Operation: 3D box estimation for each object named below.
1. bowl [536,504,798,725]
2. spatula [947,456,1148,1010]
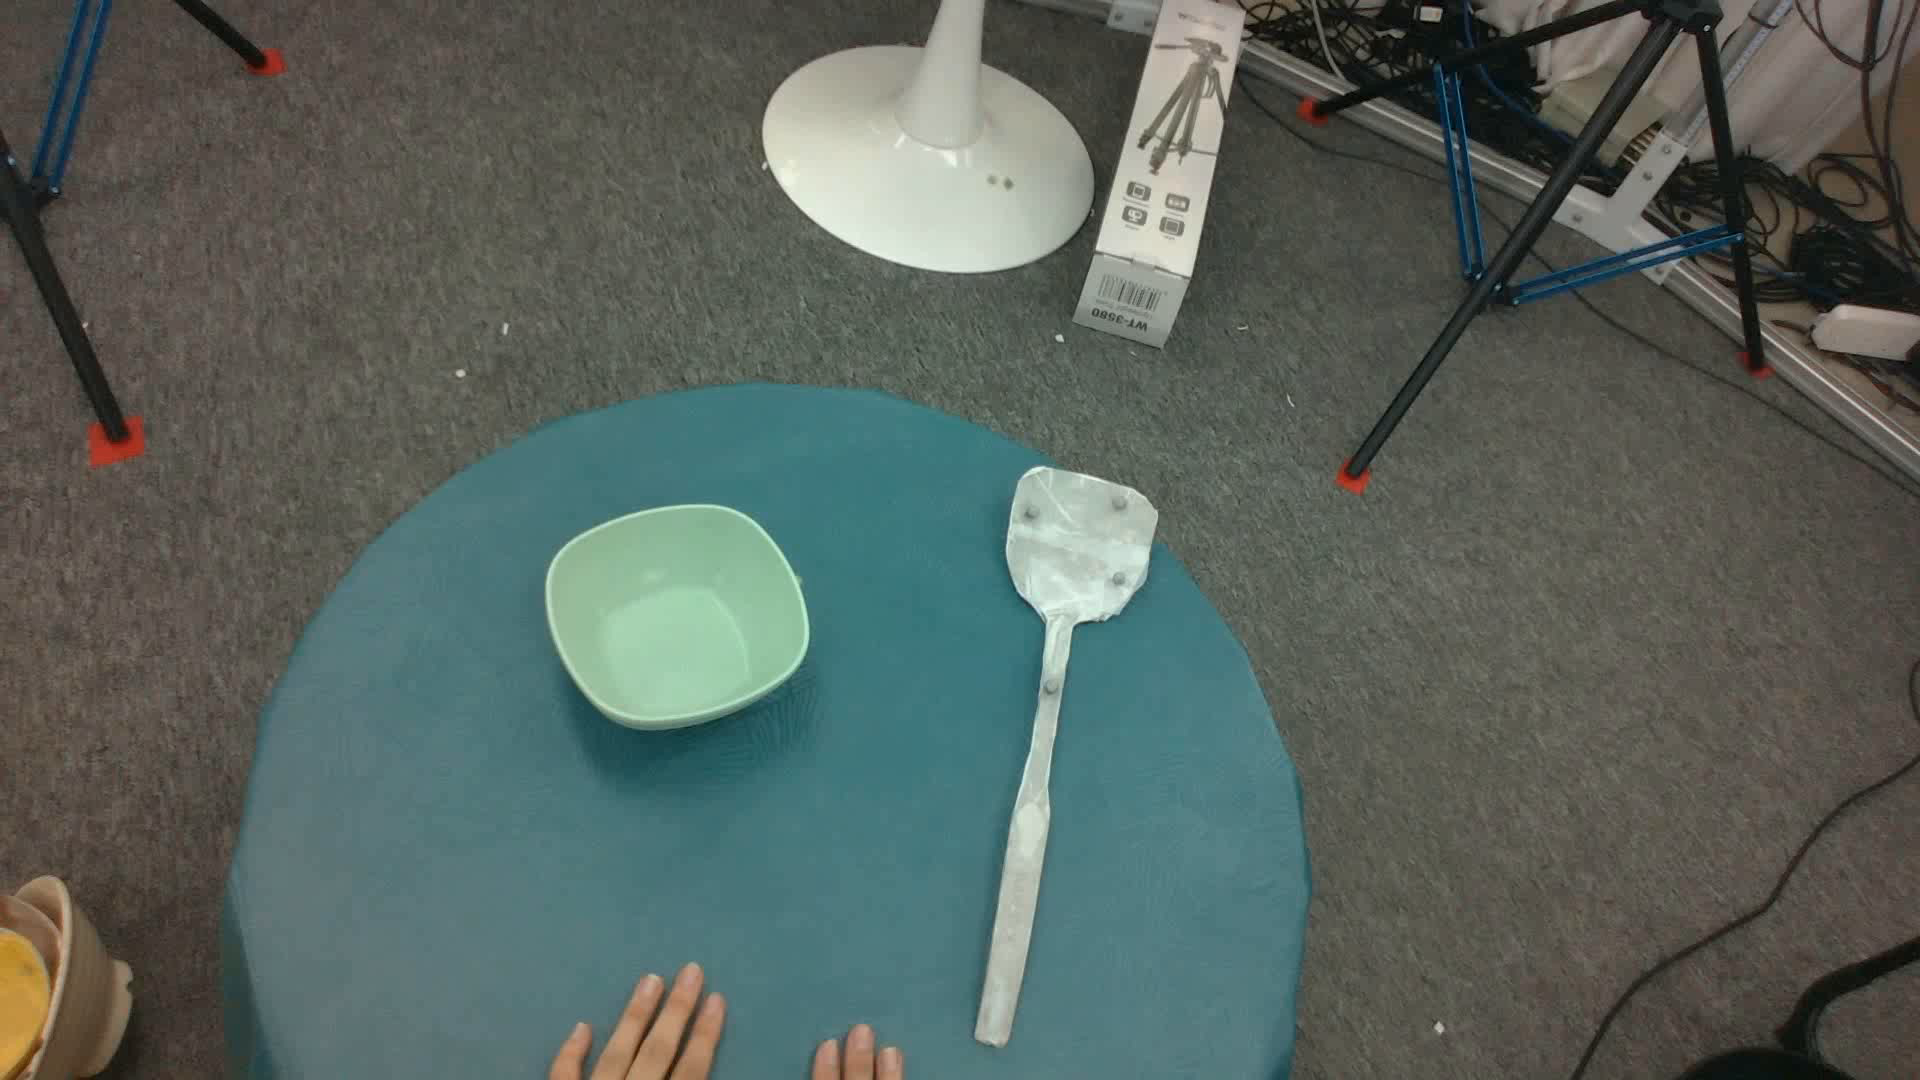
[{"bbox_3d":[-0.170,0.052,0.795,0.151,0.058,0.152,8,50,-9],"label":"bowl"},{"bbox_3d":[0.044,0.101,0.826,0.099,0.044,0.367,18,52,-4],"label":"spatula"}]
